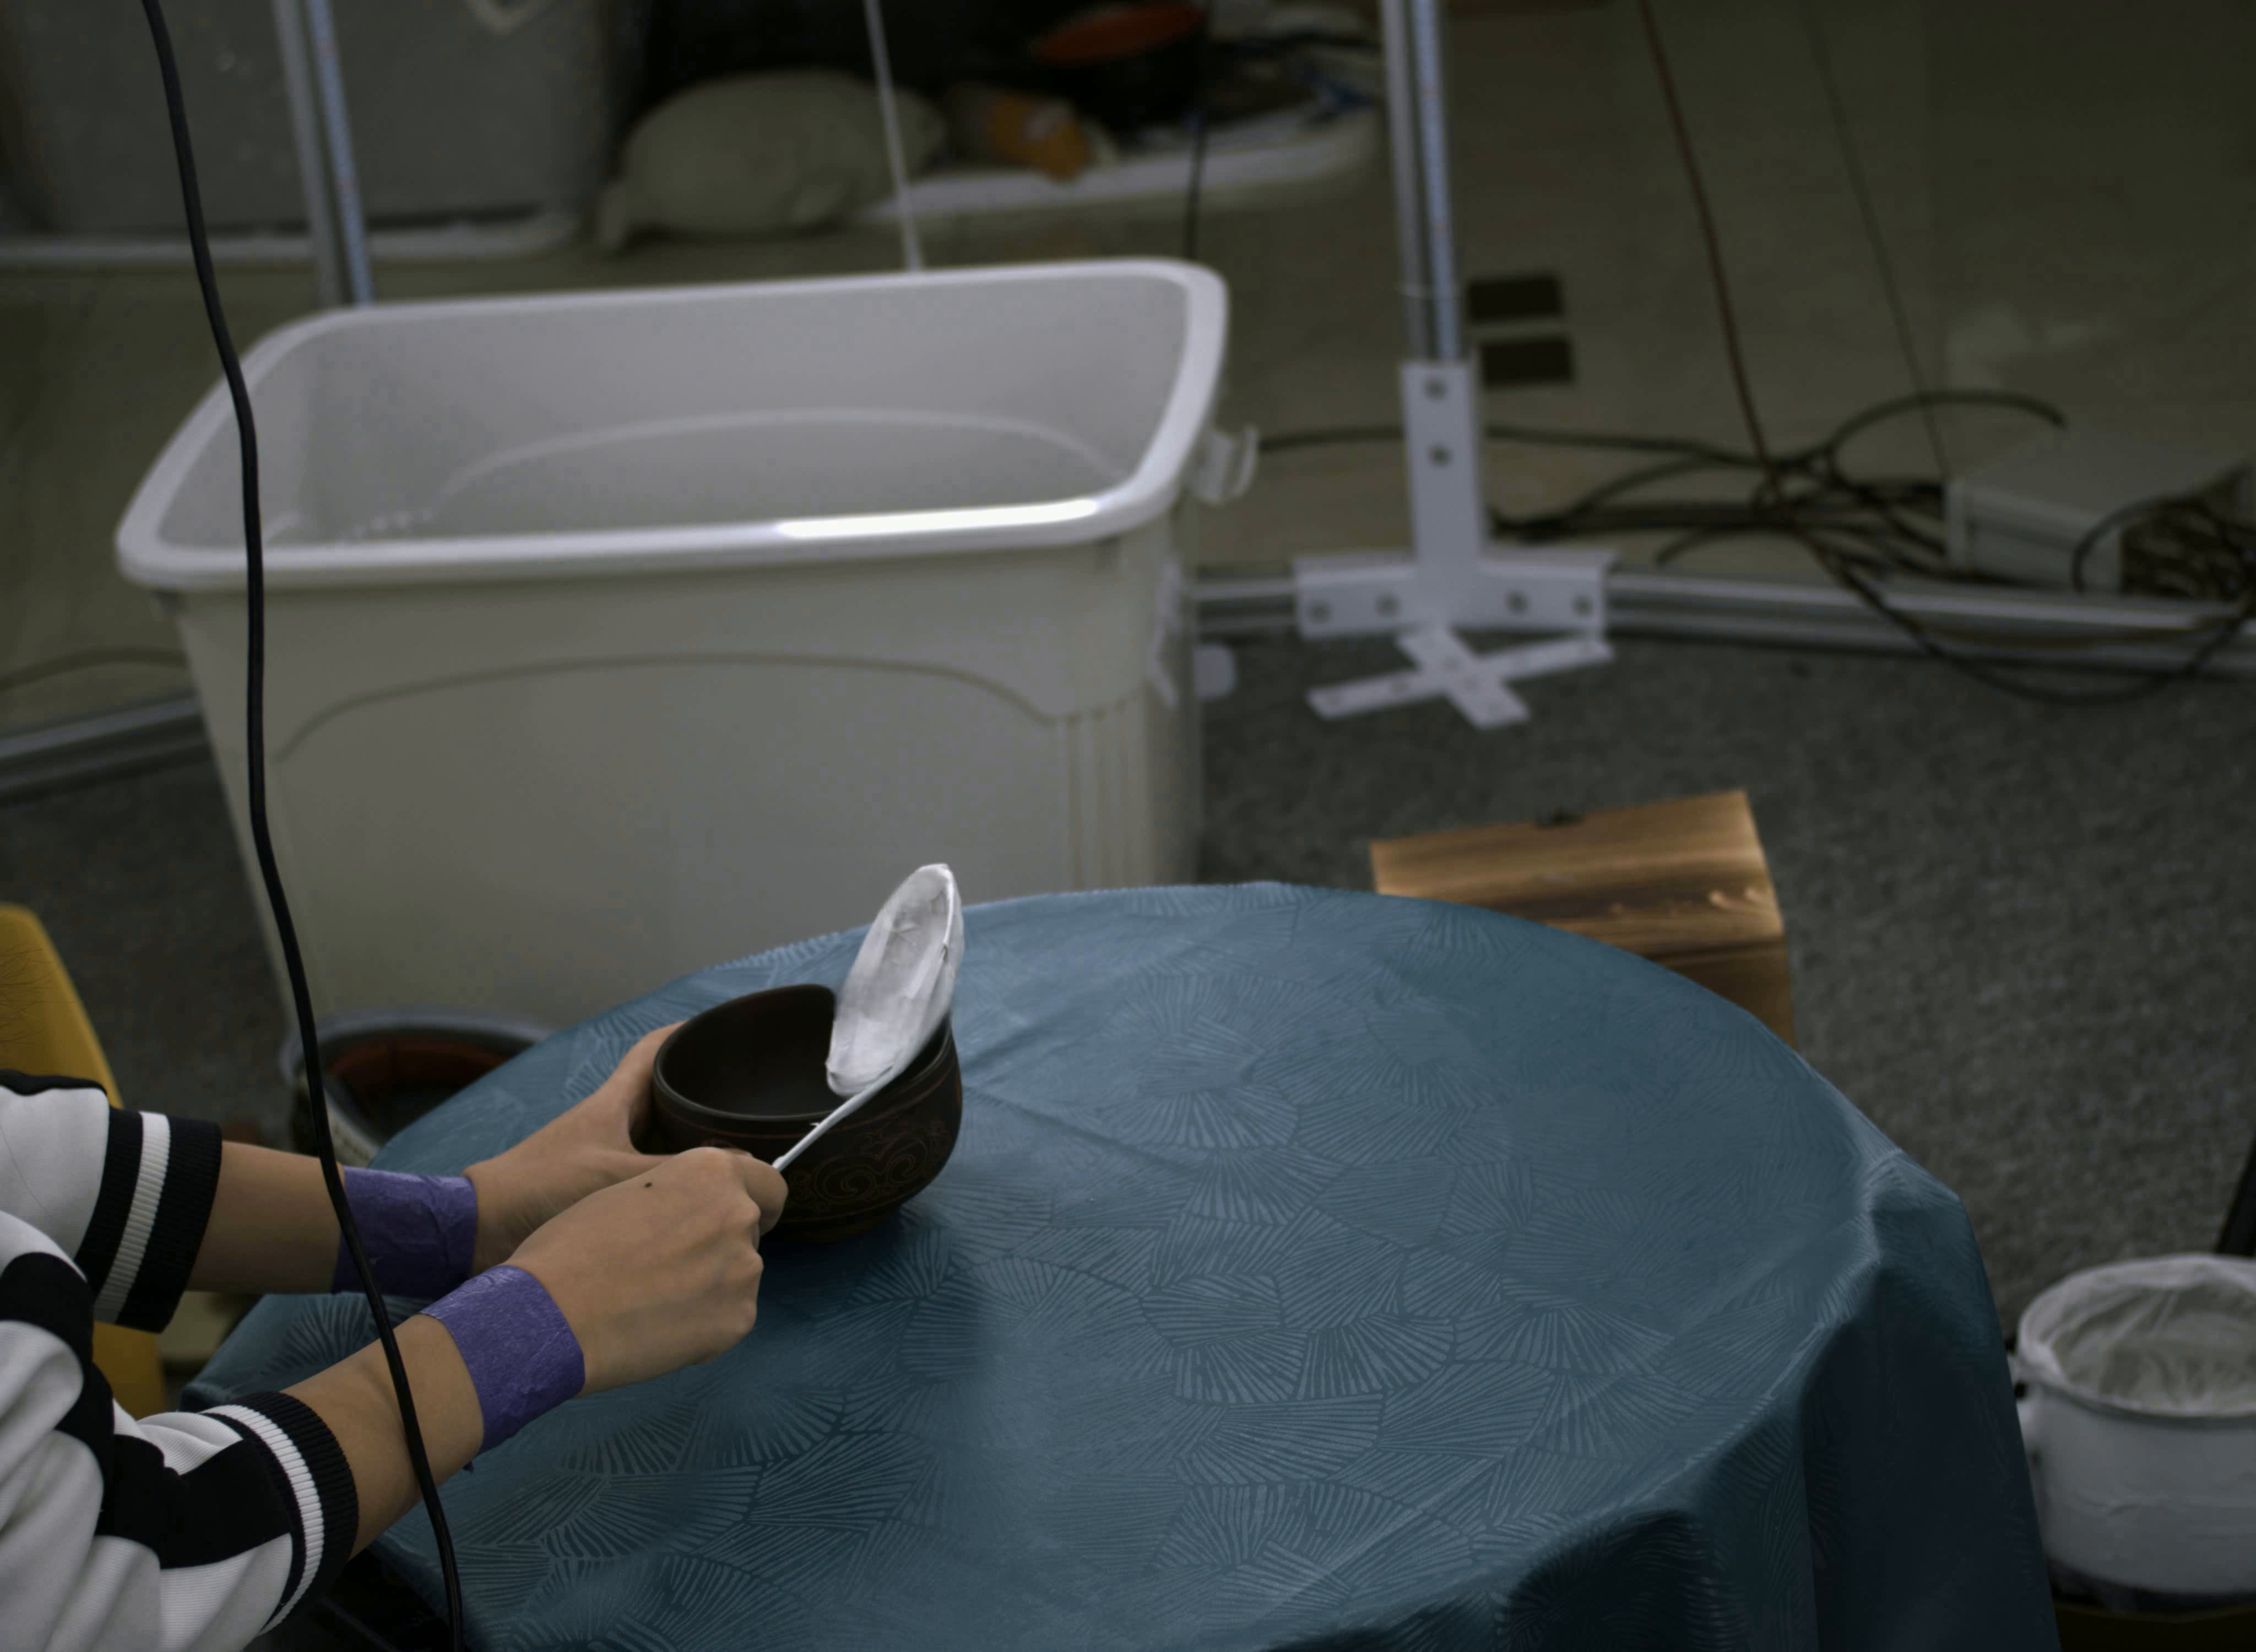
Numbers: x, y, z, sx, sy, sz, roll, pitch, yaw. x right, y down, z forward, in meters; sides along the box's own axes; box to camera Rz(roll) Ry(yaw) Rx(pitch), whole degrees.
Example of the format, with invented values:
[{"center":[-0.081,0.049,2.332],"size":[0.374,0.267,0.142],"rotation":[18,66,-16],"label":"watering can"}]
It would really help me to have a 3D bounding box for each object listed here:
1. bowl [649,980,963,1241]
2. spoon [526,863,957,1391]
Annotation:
[{"center":[-0.120,0.113,2.145],"size":[0.118,0.071,0.116],"rotation":[-5,25,2],"label":"bowl"},{"center":[-0.146,0.109,2.049],"size":[0.059,0.102,0.274],"rotation":[45,50,5],"label":"spoon"}]
